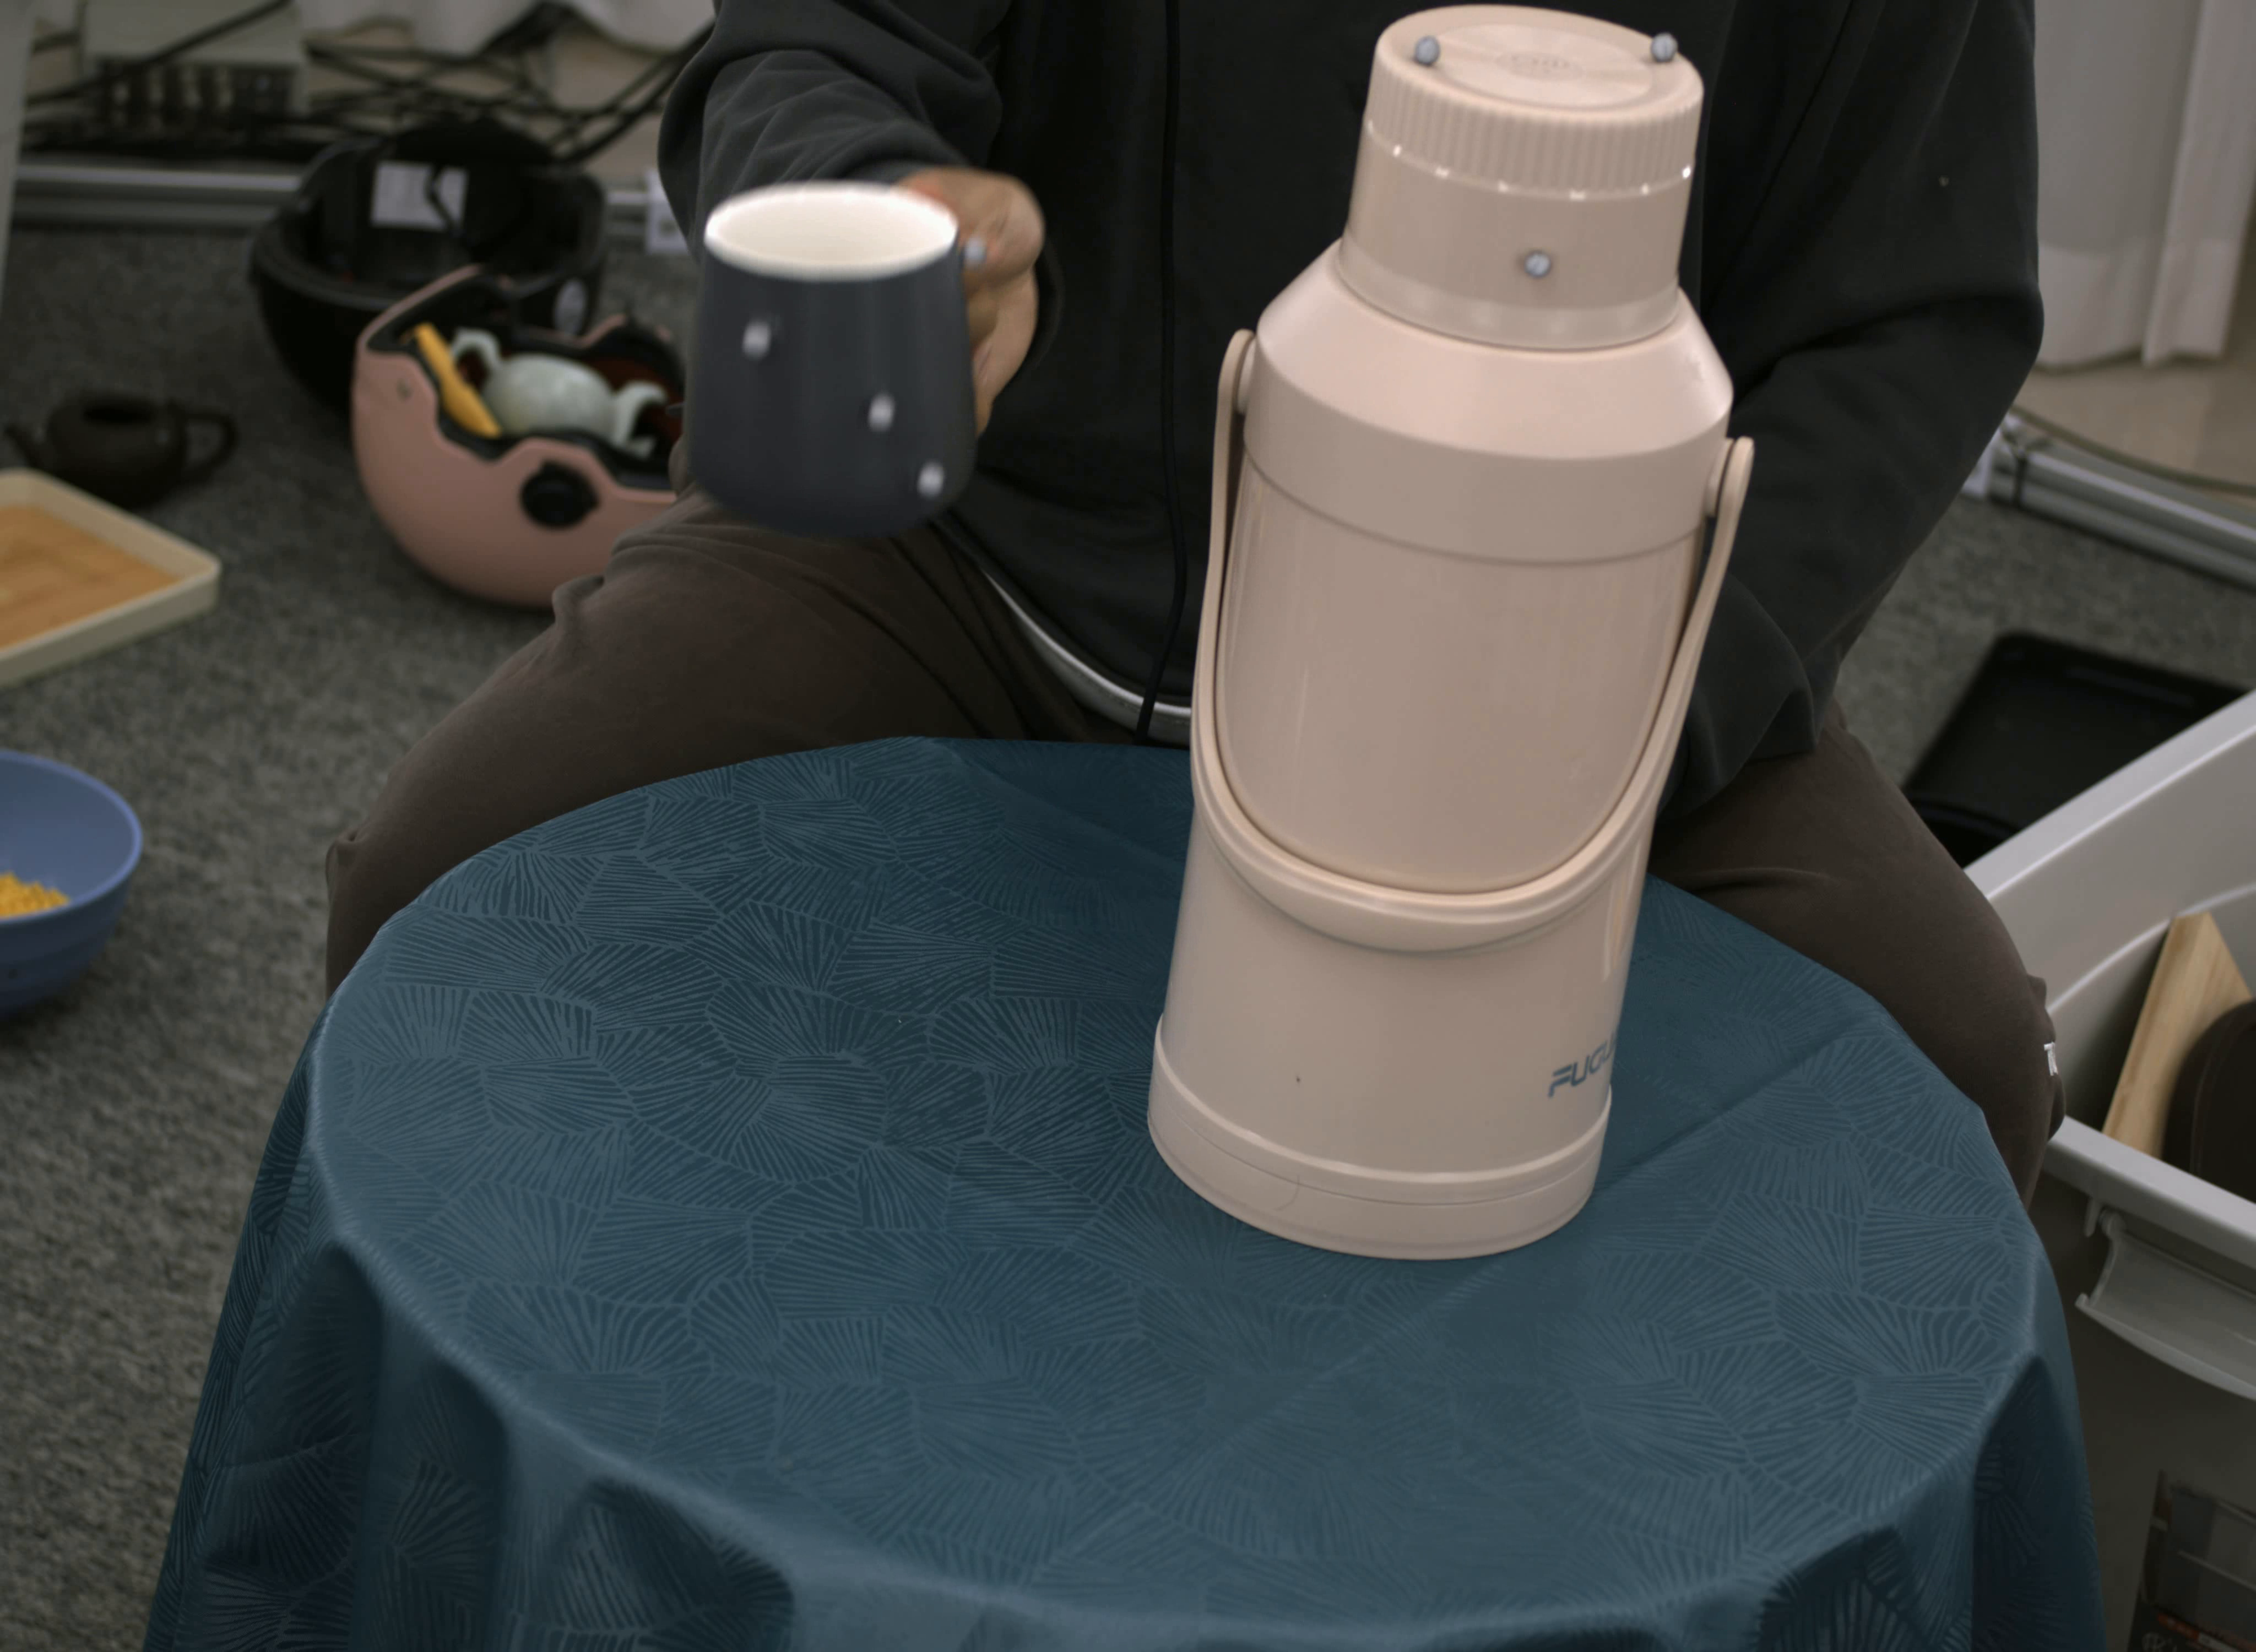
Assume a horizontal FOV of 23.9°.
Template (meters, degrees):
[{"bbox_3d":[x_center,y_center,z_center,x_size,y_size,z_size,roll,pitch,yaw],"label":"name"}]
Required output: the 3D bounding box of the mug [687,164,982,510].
[{"bbox_3d":[-0.086,-0.159,1.686,0.094,0.089,0.123,13,26,24],"label":"mug"}]

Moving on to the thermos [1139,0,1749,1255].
[{"bbox_3d":[0.111,-0.072,1.781,0.175,0.405,0.207,13,27,11],"label":"thermos"}]
